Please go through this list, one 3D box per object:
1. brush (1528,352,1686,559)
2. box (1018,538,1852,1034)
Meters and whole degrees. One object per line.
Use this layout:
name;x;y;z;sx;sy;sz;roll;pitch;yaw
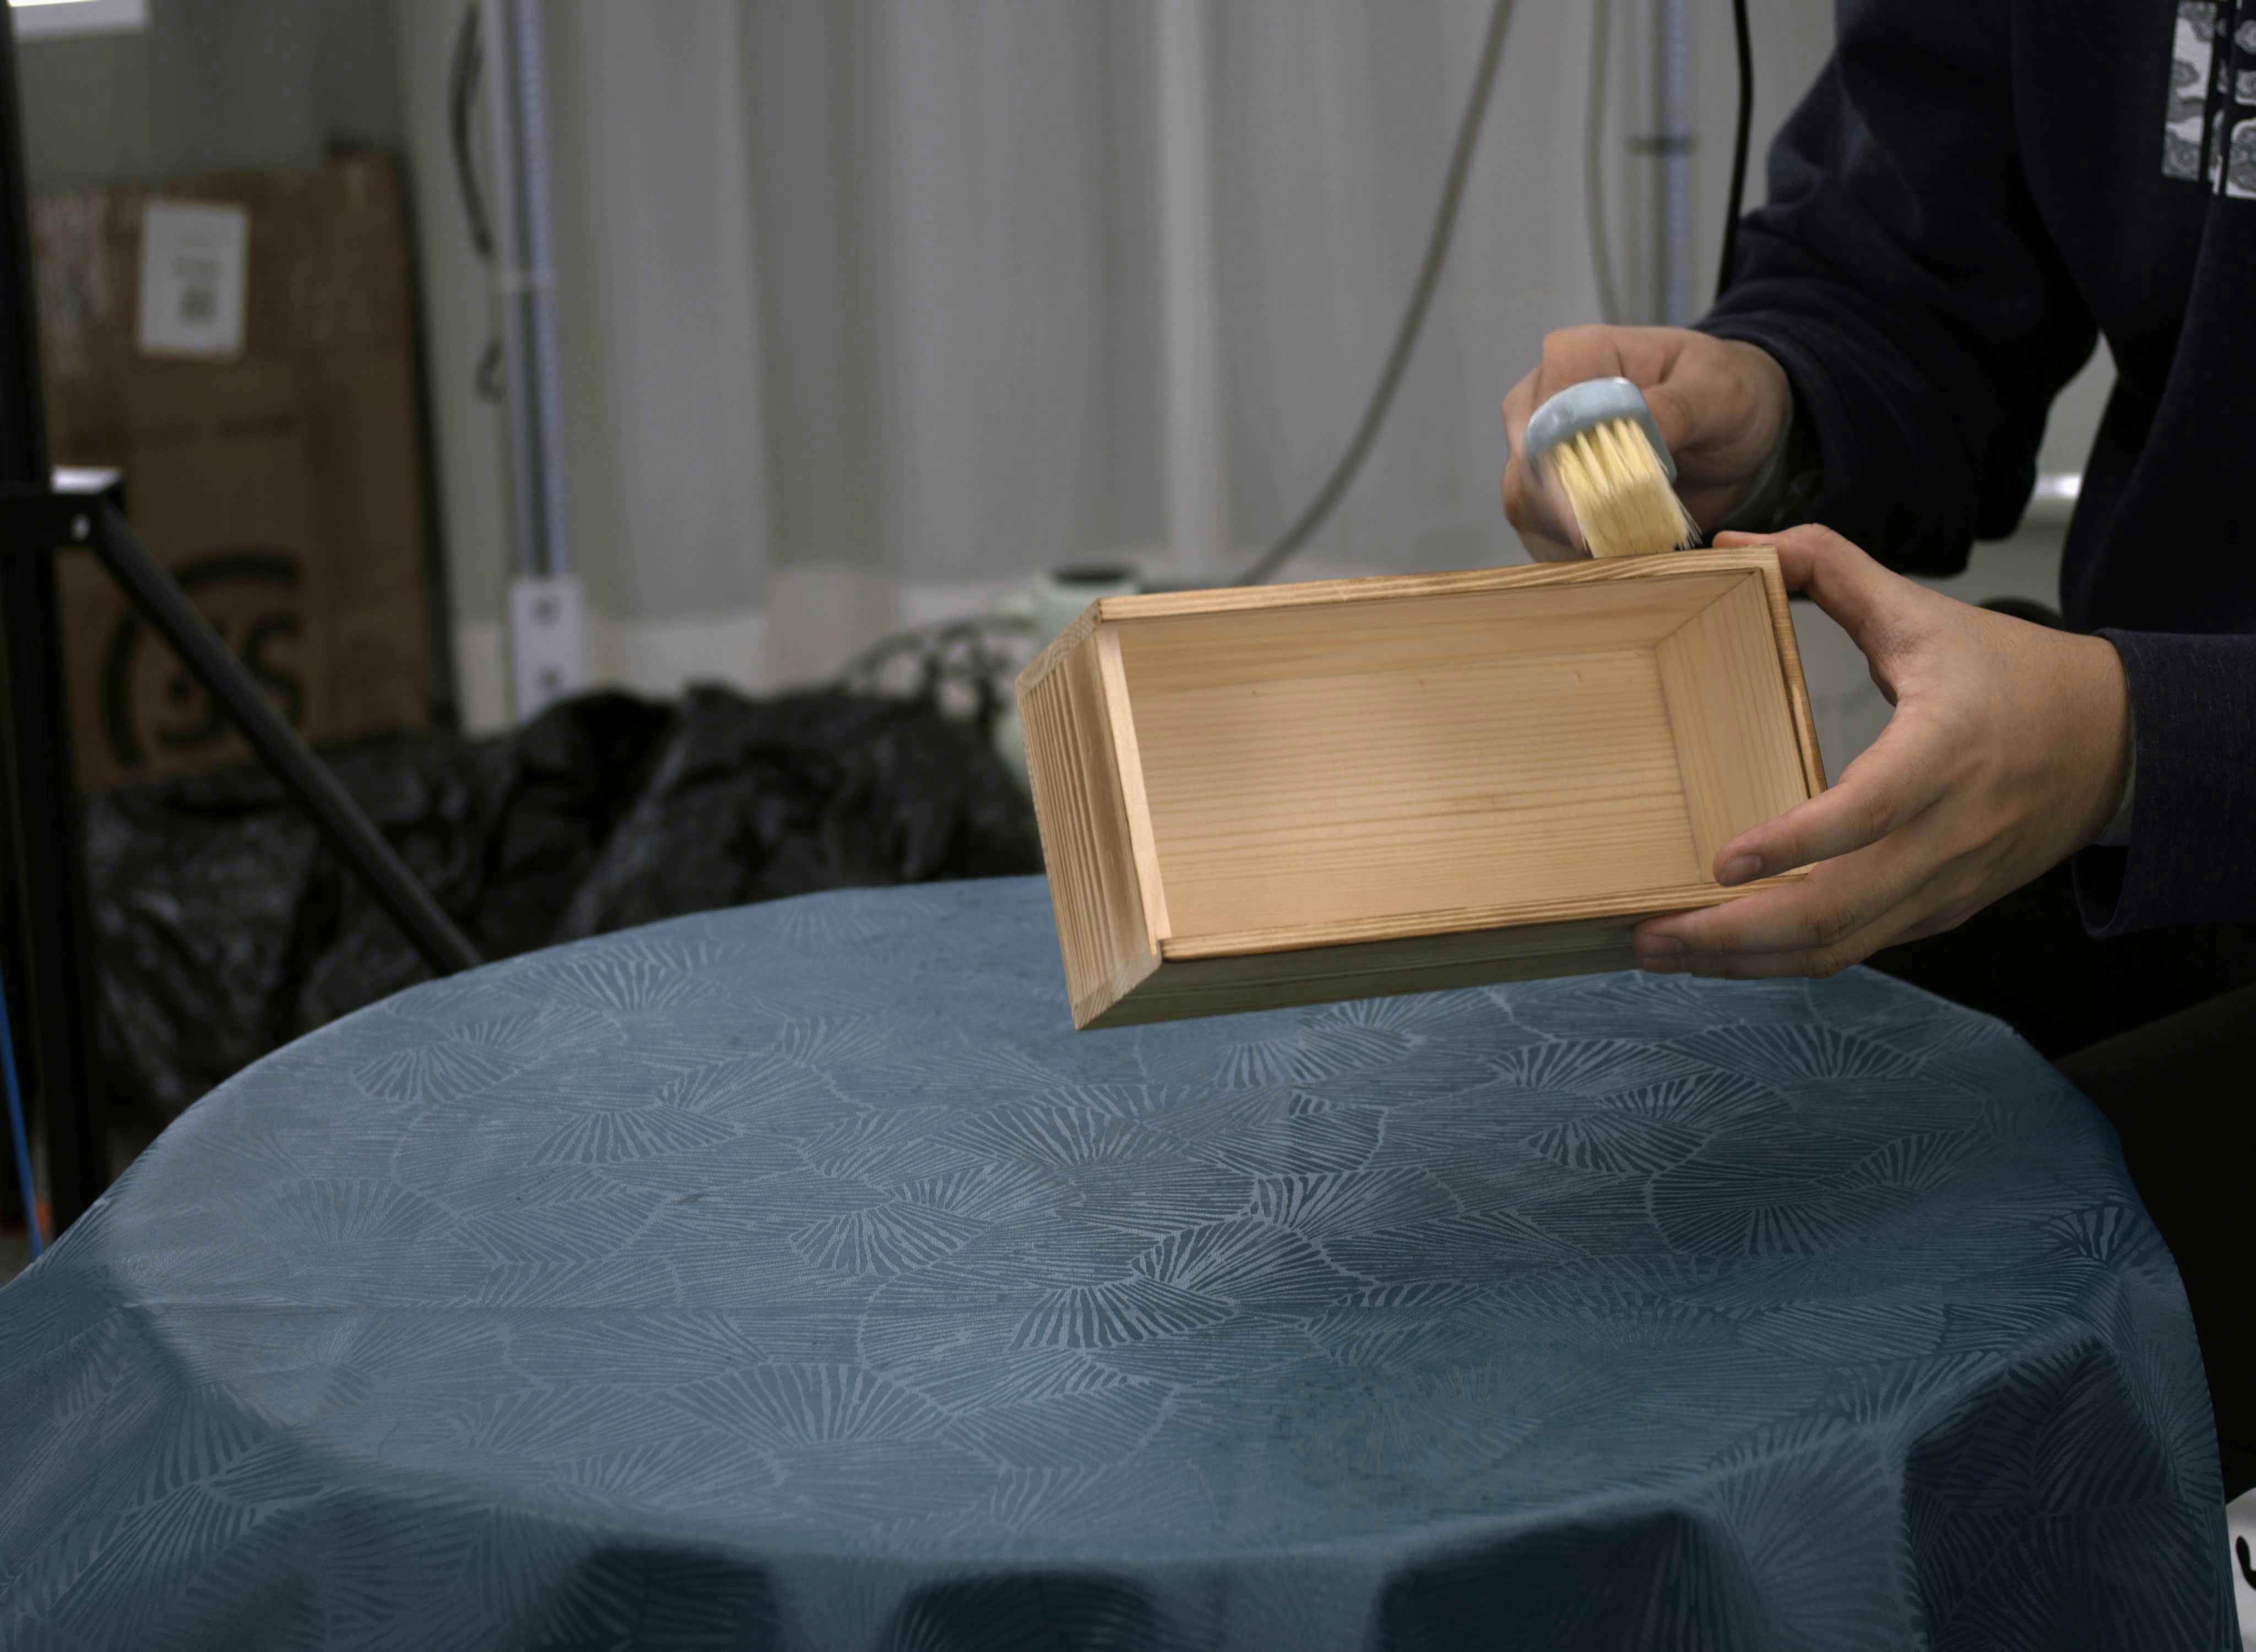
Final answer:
brush;0.148;-0.100;1.605;0.038;0.050;0.227;-25;-6;4
box;0.087;-0.011;1.515;0.207;0.108;0.081;-6;-15;-18
